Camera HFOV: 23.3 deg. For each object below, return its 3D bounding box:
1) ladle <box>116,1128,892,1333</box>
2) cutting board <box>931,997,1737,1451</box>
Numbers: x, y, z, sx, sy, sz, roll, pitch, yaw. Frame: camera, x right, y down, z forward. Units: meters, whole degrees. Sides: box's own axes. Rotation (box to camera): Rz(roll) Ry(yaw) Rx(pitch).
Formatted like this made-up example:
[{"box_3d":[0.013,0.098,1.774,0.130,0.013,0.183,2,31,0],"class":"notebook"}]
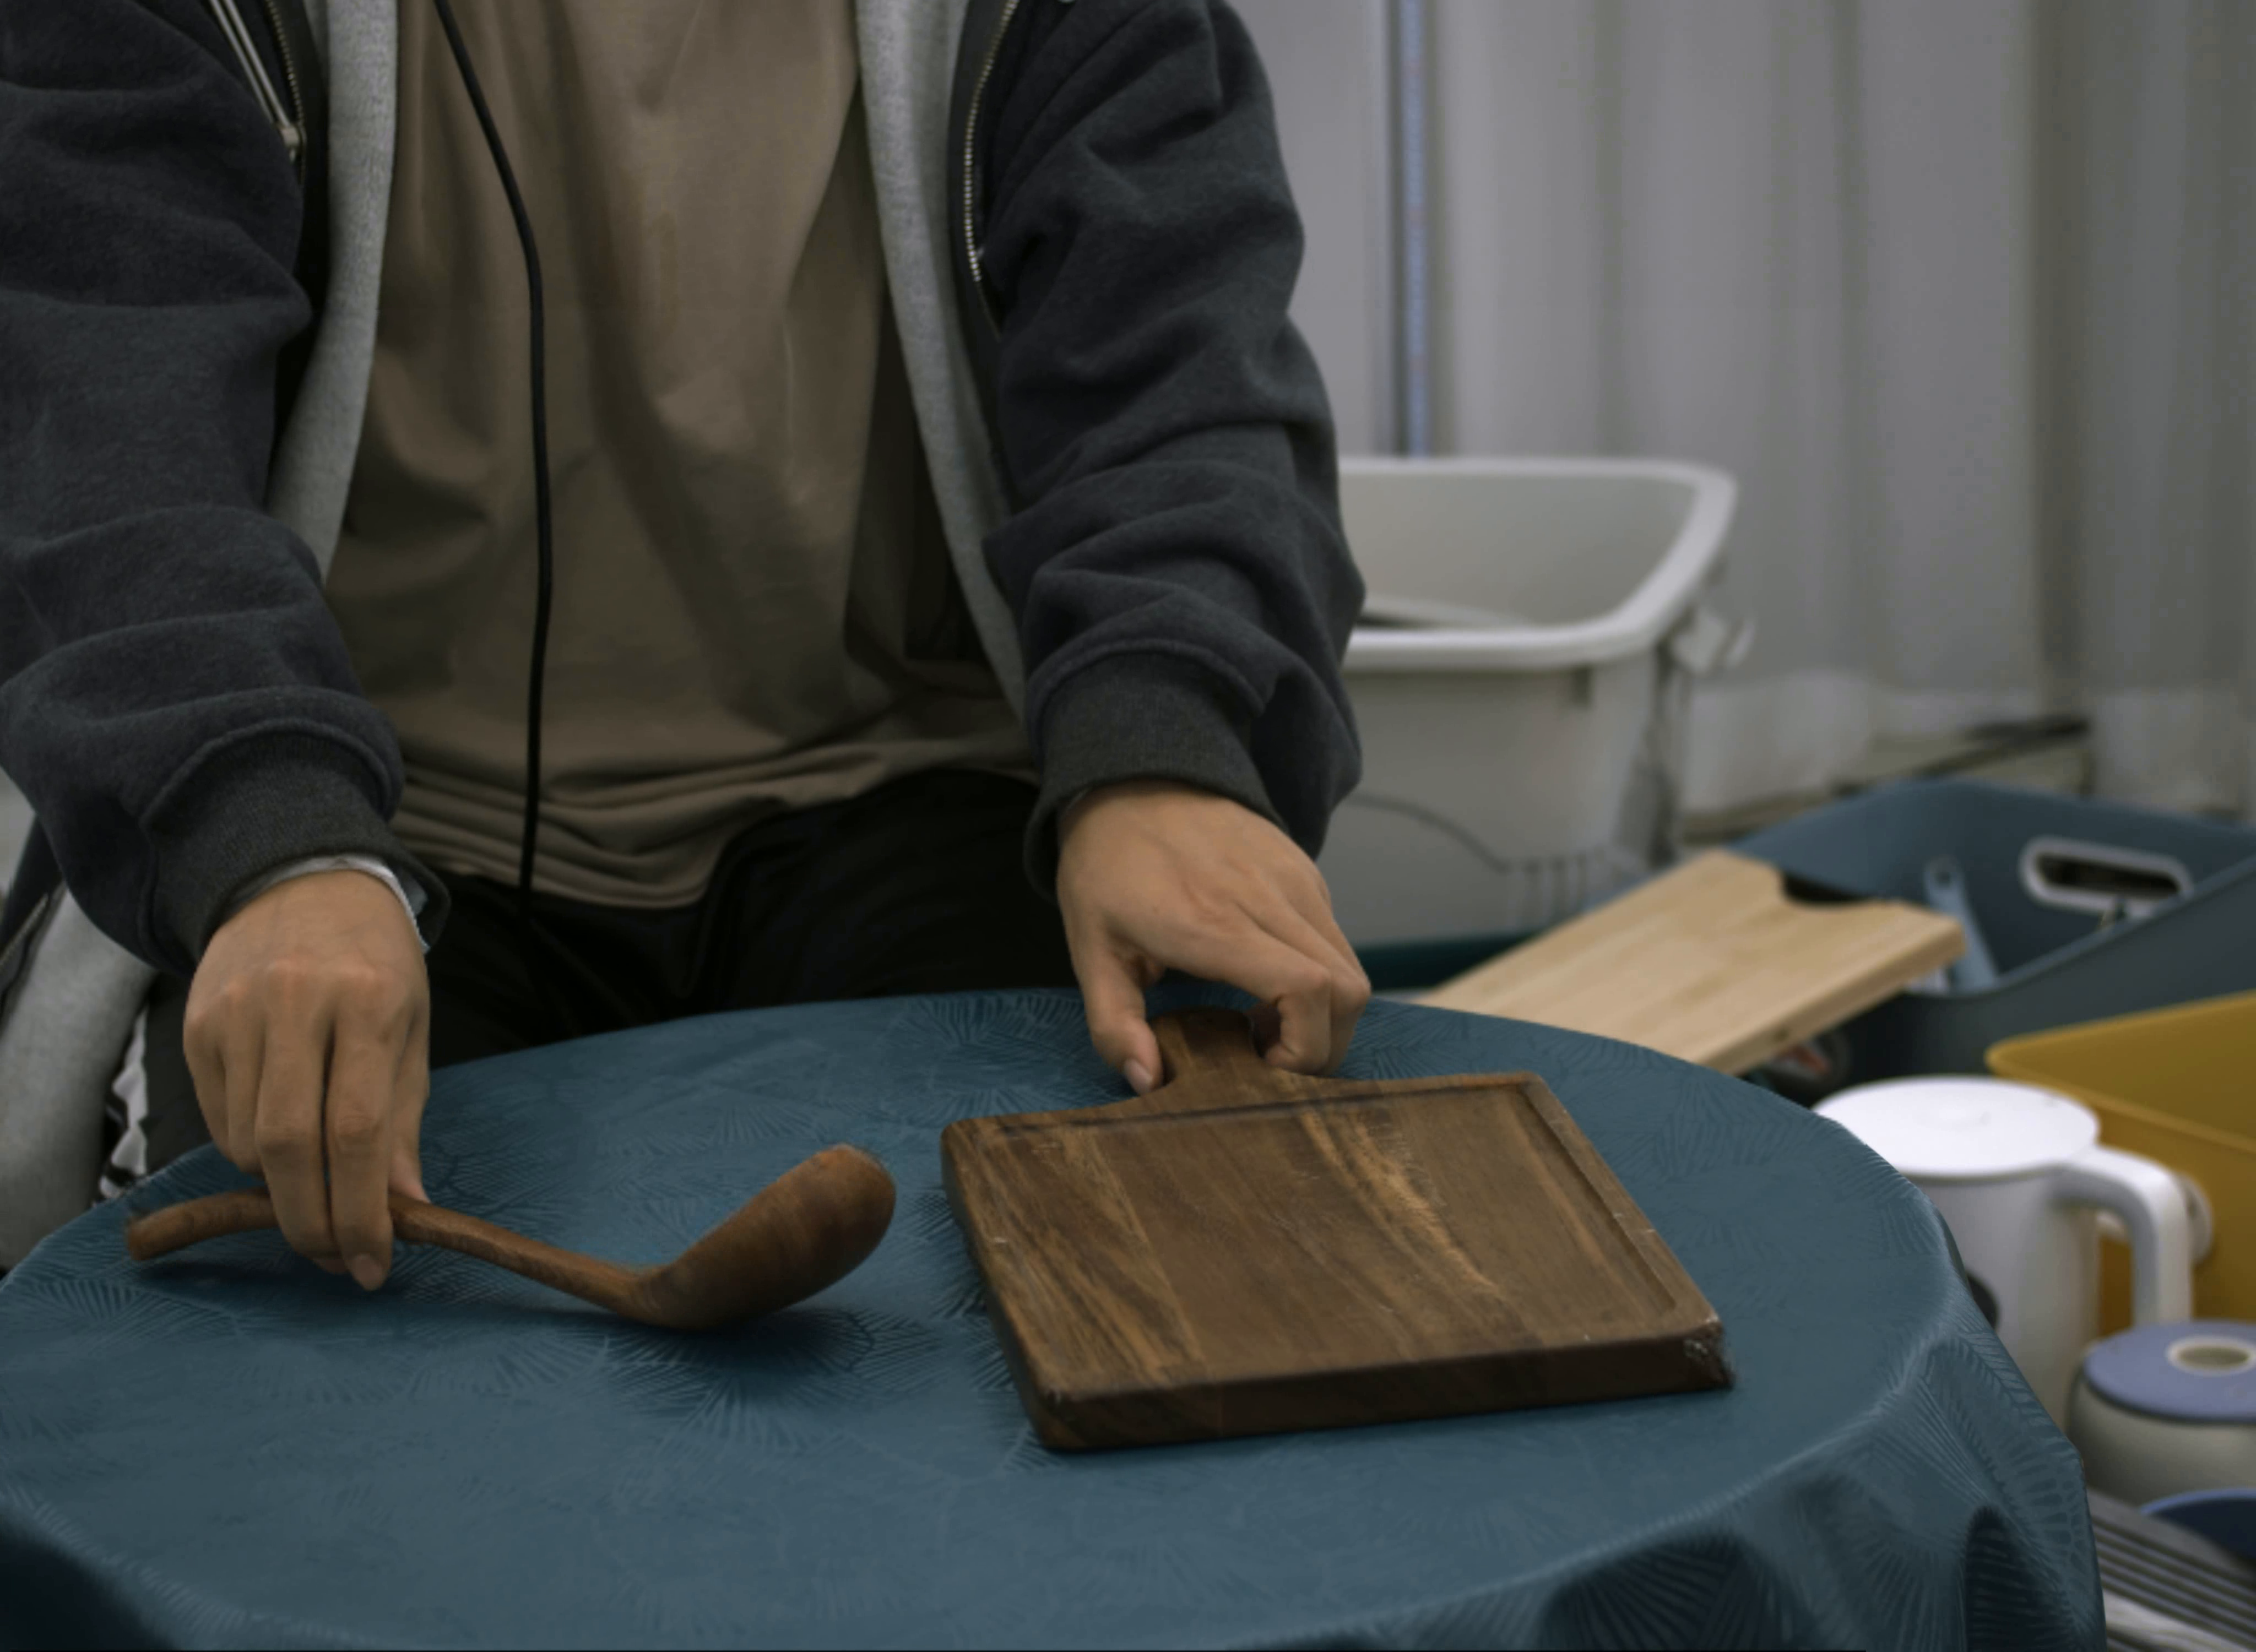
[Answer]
[{"box_3d":[-0.191,0.112,1.636,0.260,0.065,0.076,4,1,25],"class":"ladle"},{"box_3d":[0.046,0.112,1.672,0.200,0.023,0.355,-4,15,-8],"class":"cutting board"}]
